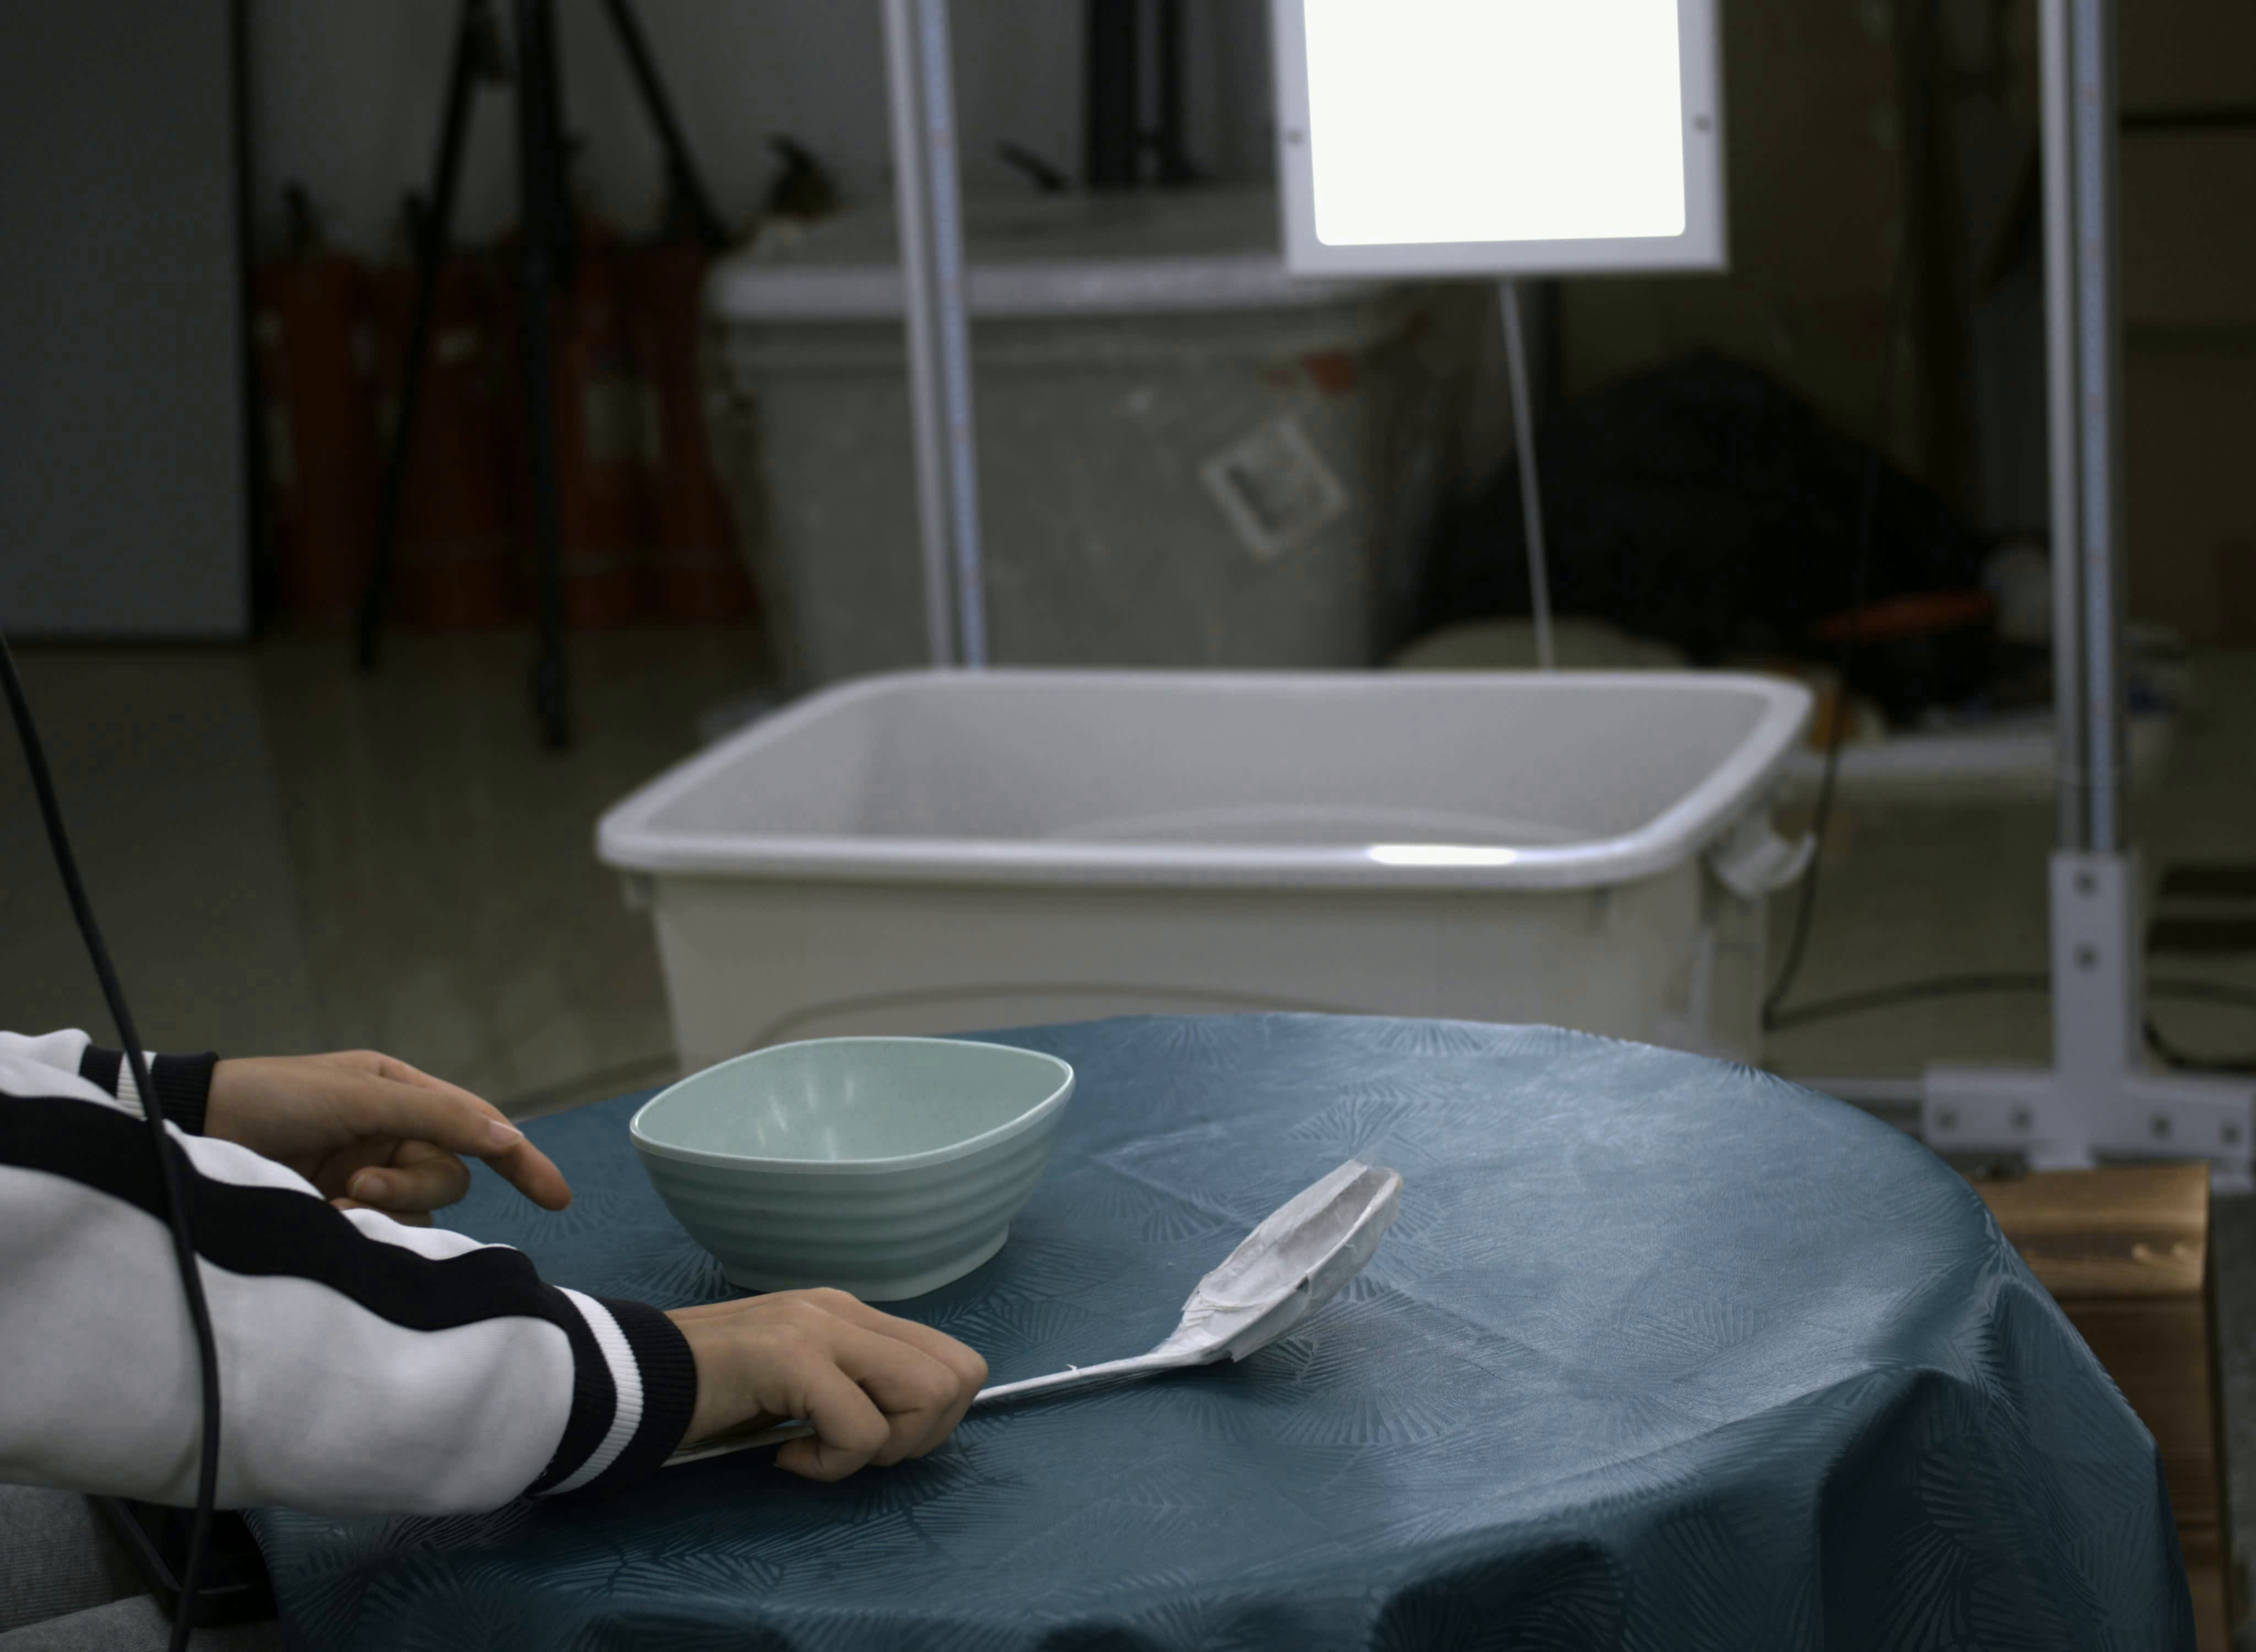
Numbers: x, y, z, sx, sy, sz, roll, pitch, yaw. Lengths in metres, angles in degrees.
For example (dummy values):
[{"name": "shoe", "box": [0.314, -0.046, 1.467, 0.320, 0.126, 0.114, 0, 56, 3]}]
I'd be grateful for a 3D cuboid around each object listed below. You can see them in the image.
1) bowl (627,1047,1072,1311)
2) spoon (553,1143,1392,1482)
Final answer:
[{"name": "bowl", "box": [-0.090, 0.121, 1.845, 0.151, 0.059, 0.151, -5, 13, 0]}, {"name": "spoon", "box": [-0.047, 0.150, 1.706, 0.274, 0.059, 0.101, -9, -5, -12]}]
